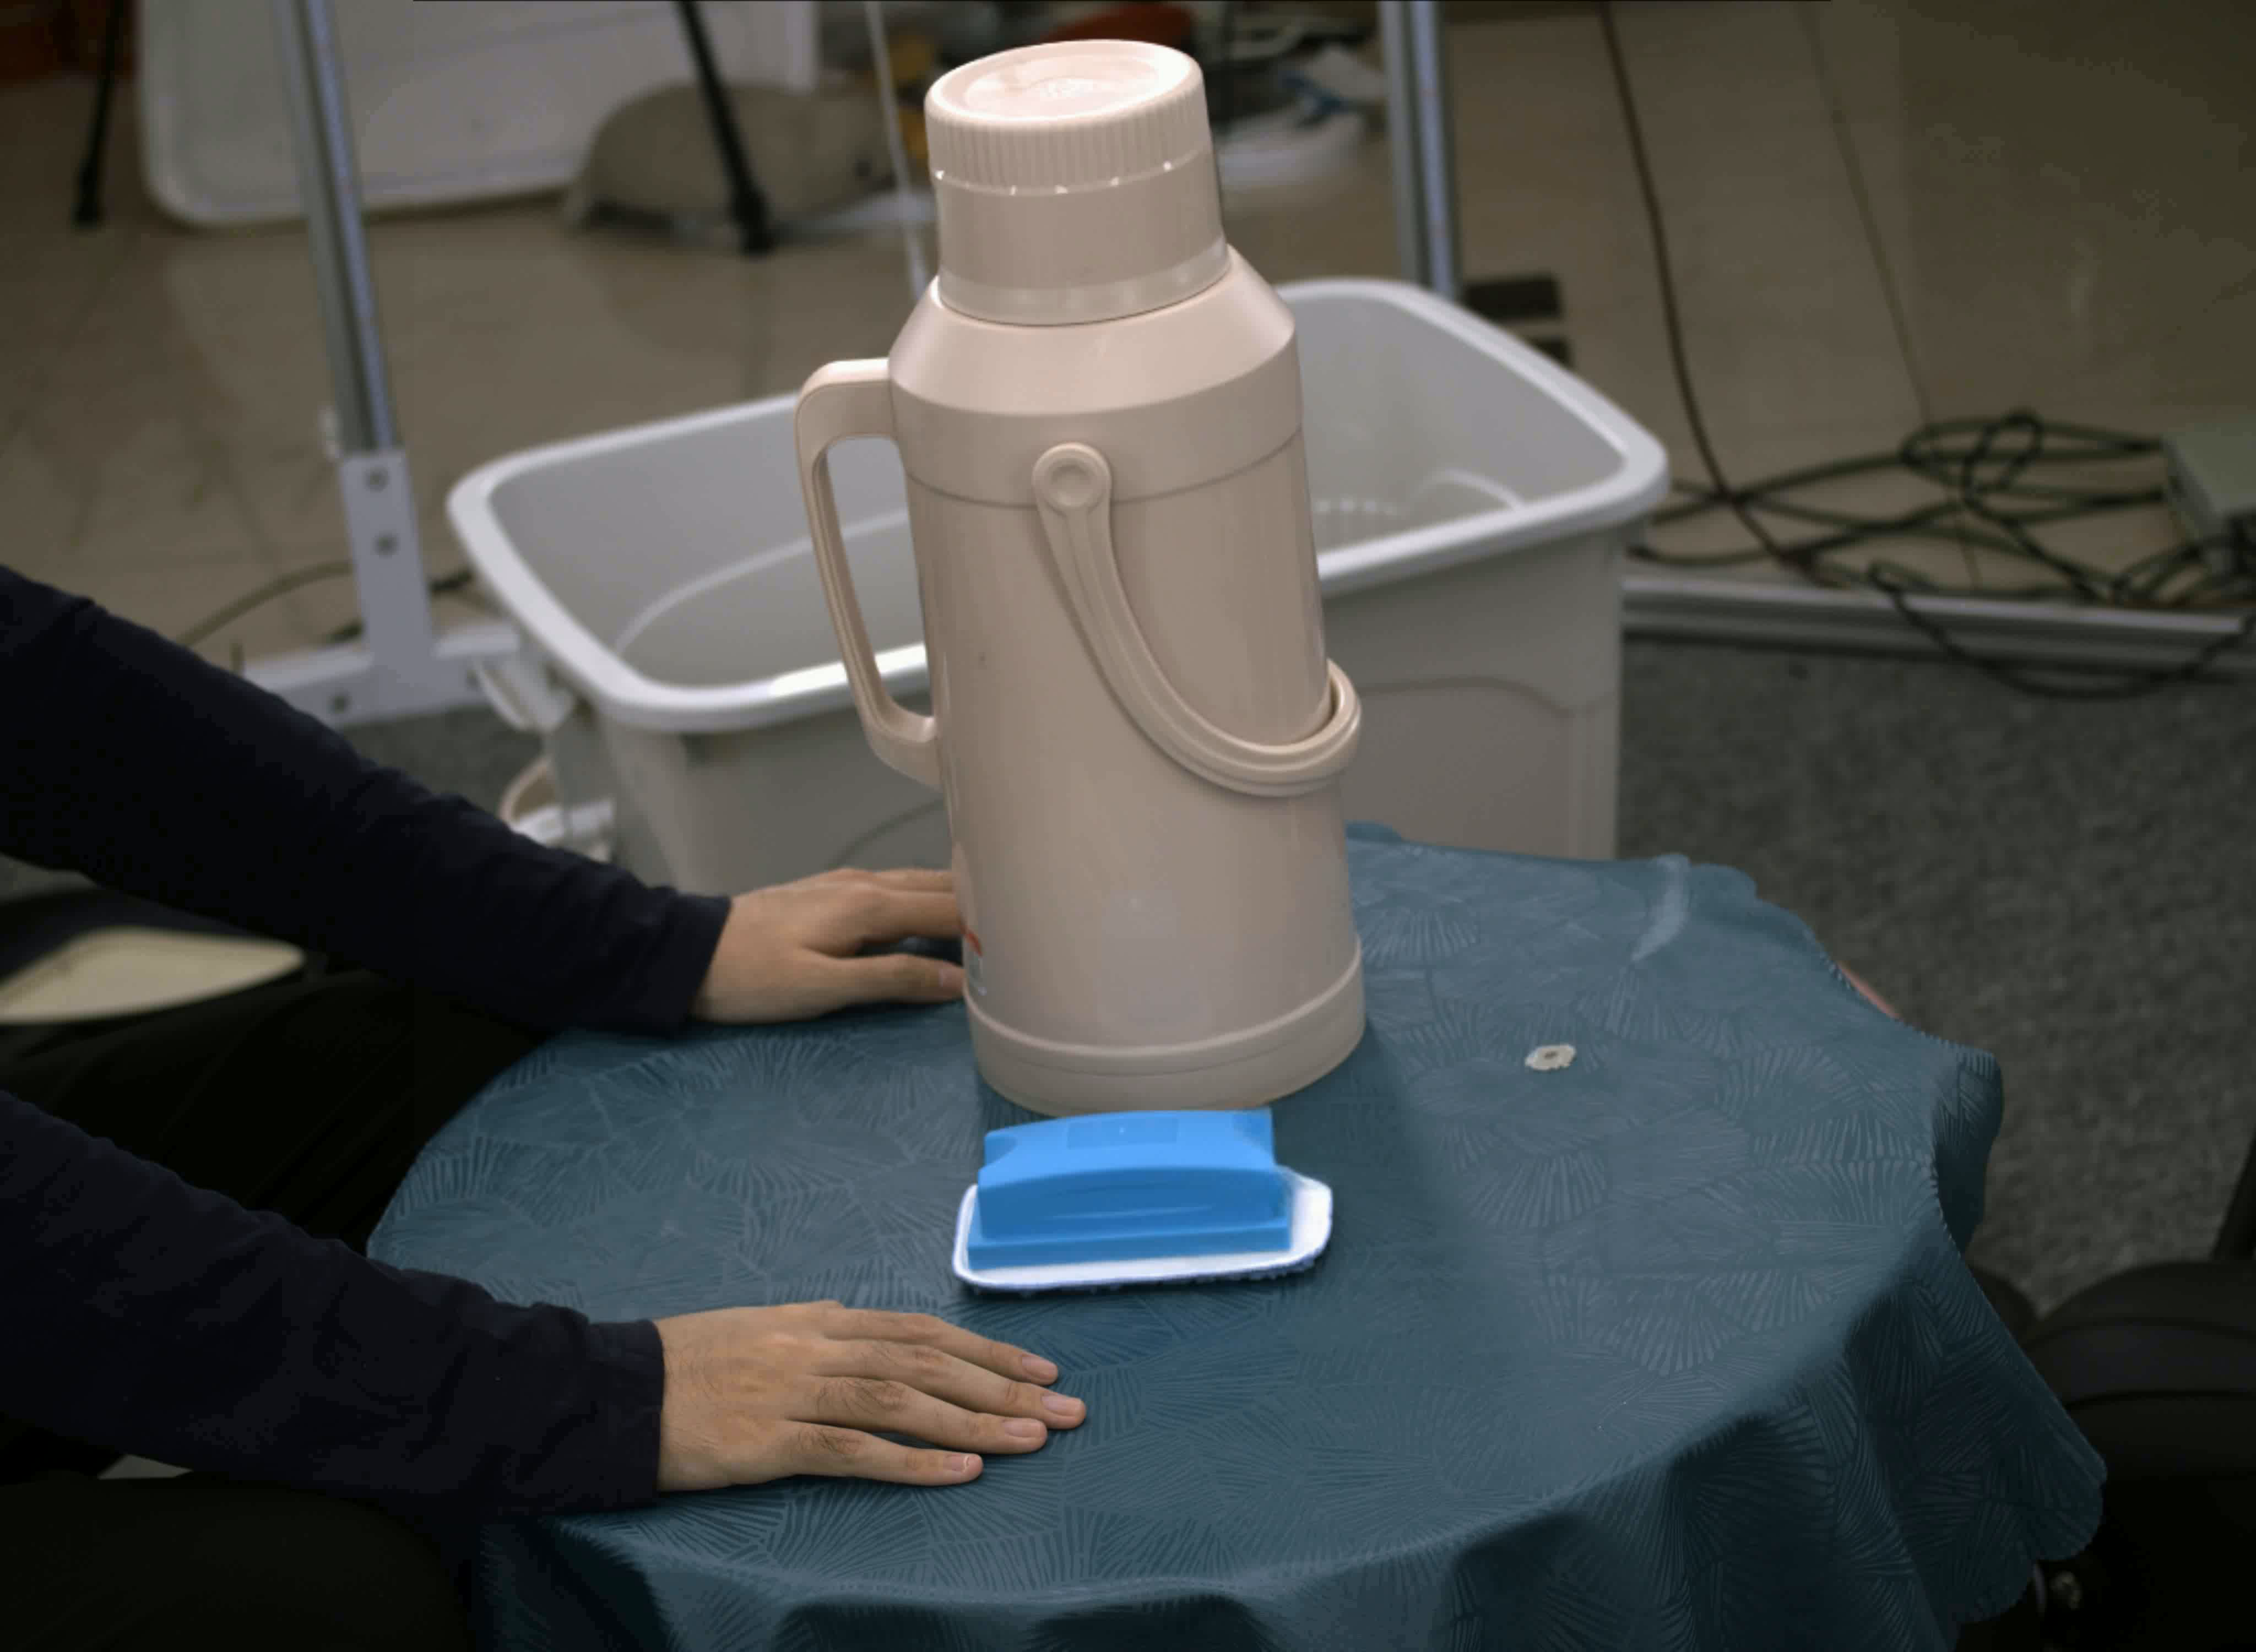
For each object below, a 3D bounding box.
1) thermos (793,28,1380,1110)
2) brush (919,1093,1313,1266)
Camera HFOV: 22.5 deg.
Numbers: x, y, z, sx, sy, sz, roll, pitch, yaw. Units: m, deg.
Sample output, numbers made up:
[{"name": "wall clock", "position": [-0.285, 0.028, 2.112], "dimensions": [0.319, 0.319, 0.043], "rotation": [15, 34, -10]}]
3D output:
[{"name": "thermos", "position": [-0.016, -0.097, 2.182], "dimensions": [0.207, 0.413, 0.172], "rotation": [-4, 28, 8]}, {"name": "brush", "position": [-0.004, 0.129, 2.094], "dimensions": [0.143, 0.057, 0.083], "rotation": [0, 22, 5]}]
